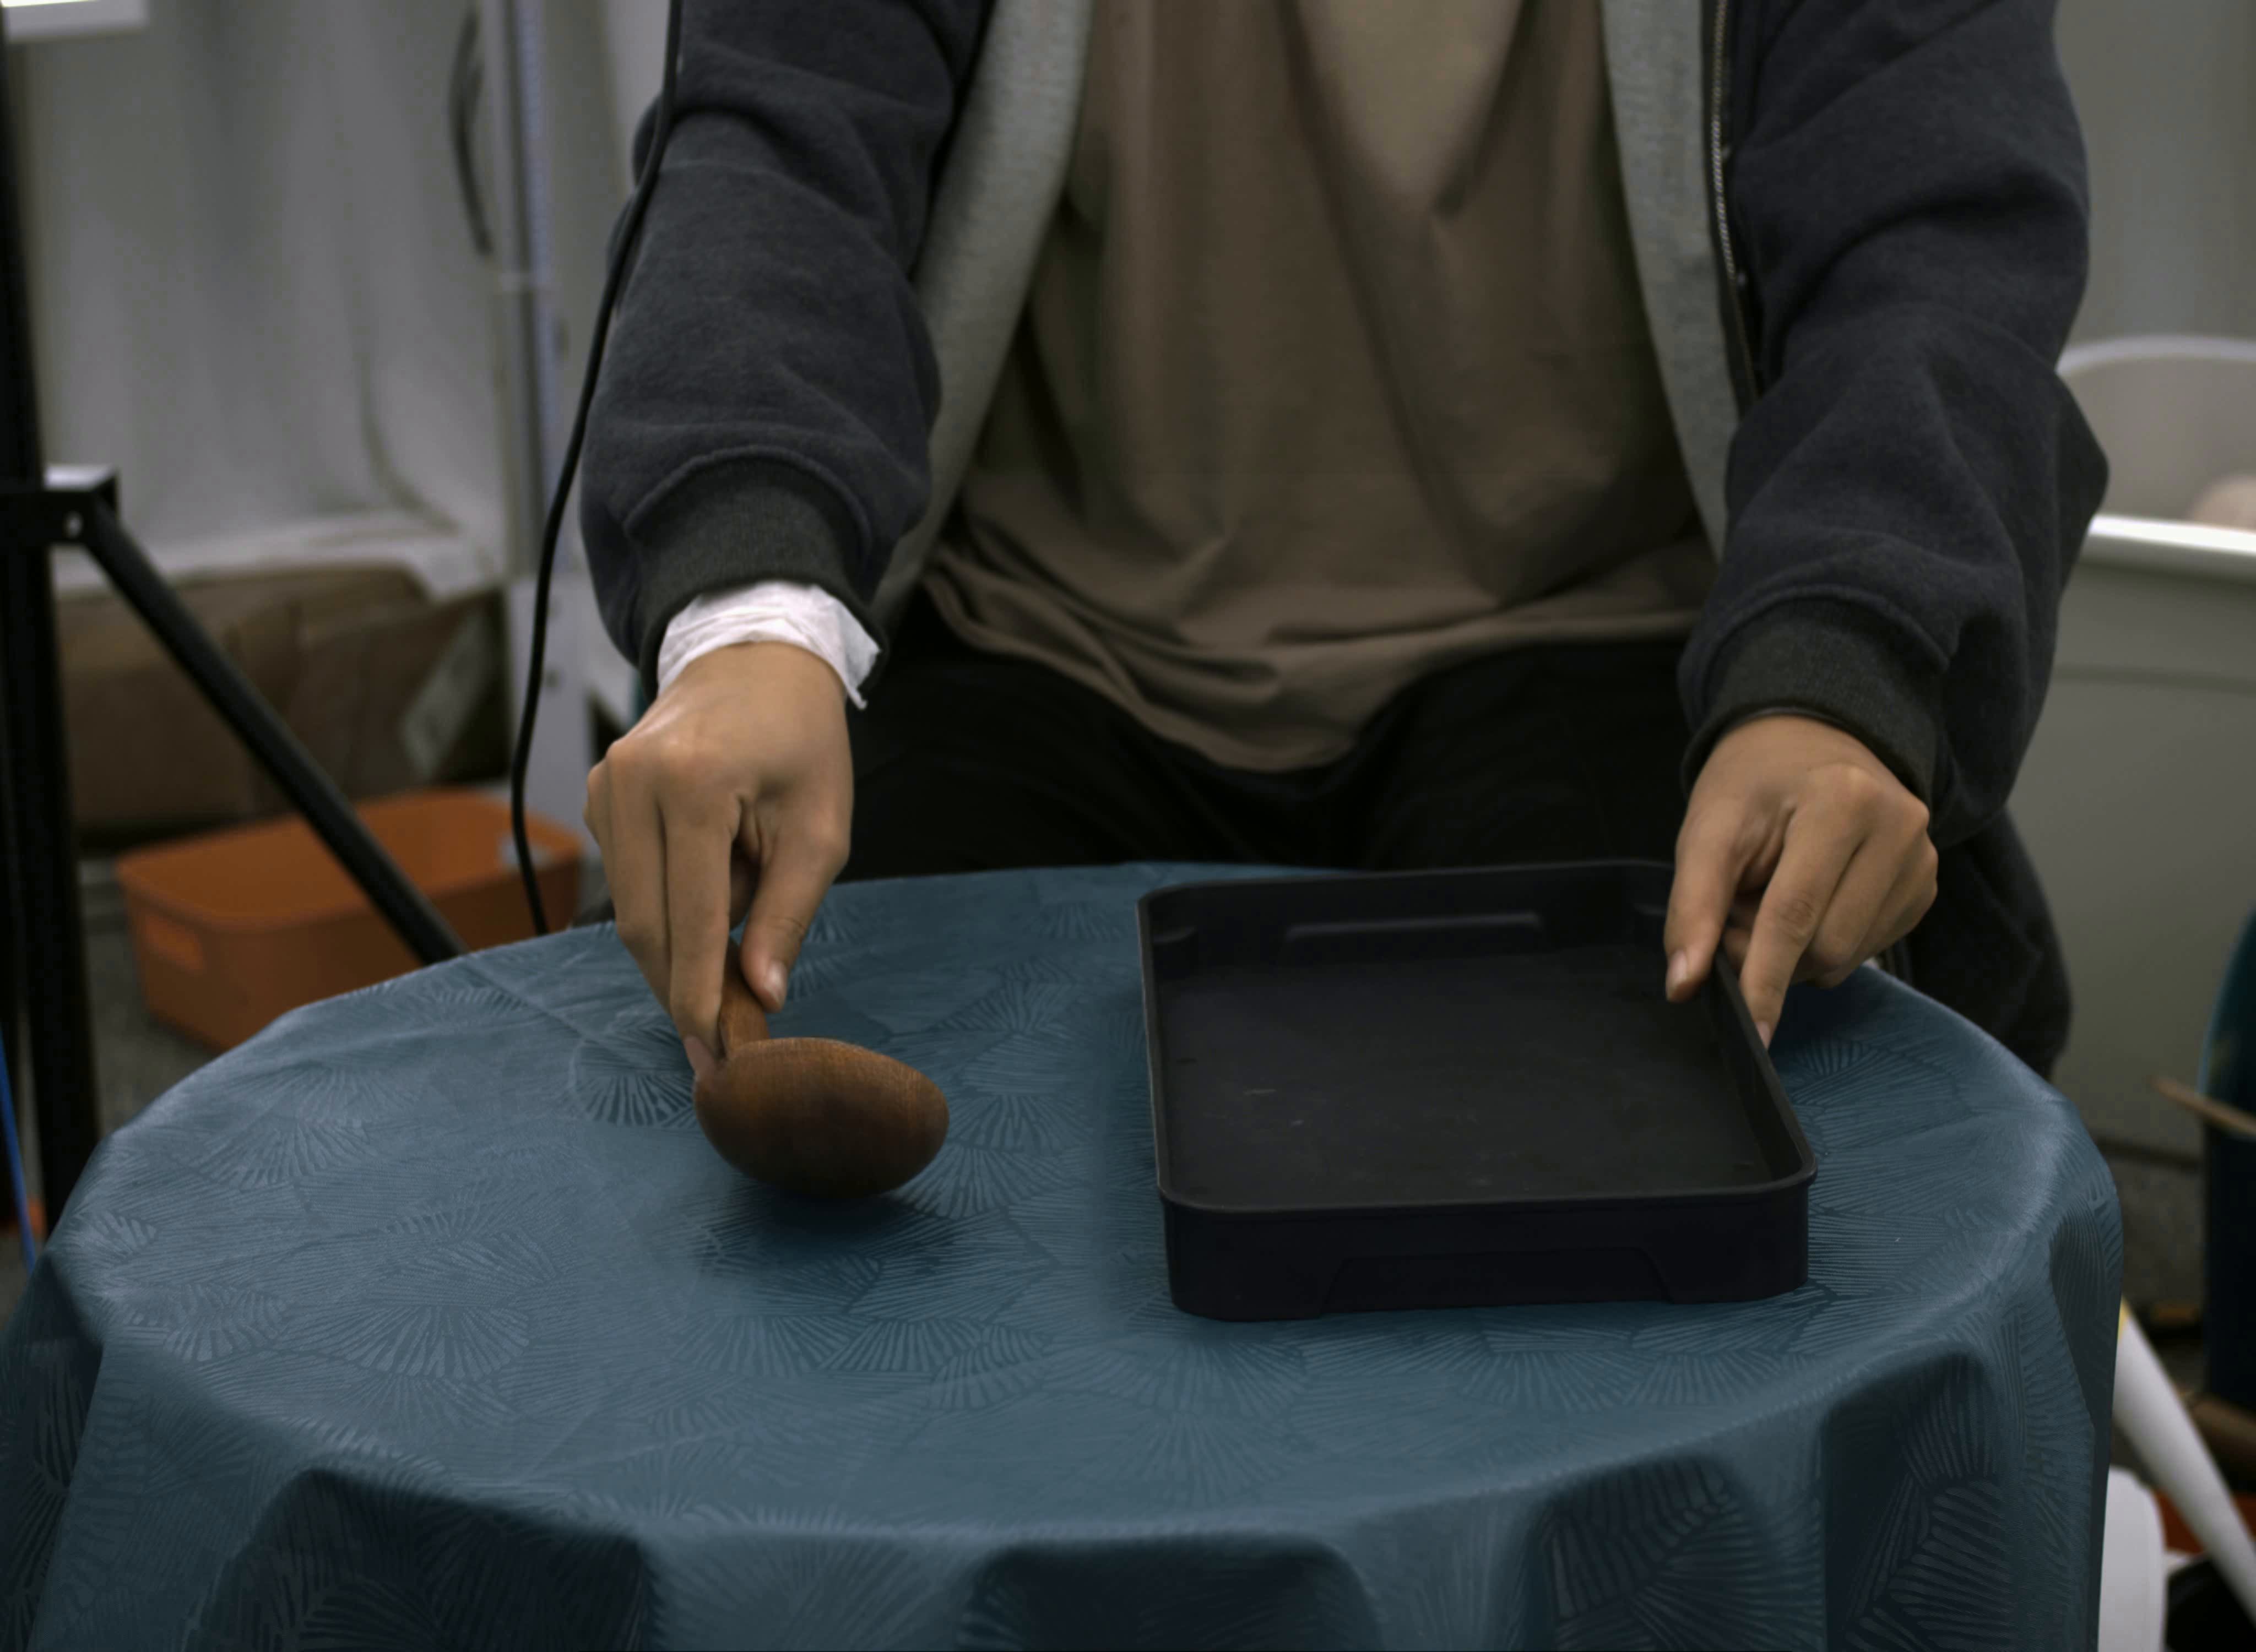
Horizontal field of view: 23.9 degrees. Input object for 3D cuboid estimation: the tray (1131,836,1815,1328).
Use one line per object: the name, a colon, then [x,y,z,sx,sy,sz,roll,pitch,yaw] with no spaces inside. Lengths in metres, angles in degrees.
tray: [0.096,0.072,1.597,0.183,0.037,0.319,-3,17,0]

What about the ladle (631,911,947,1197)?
ladle: [-0.114,0.053,1.635,0.075,0.065,0.264,20,12,-19]
